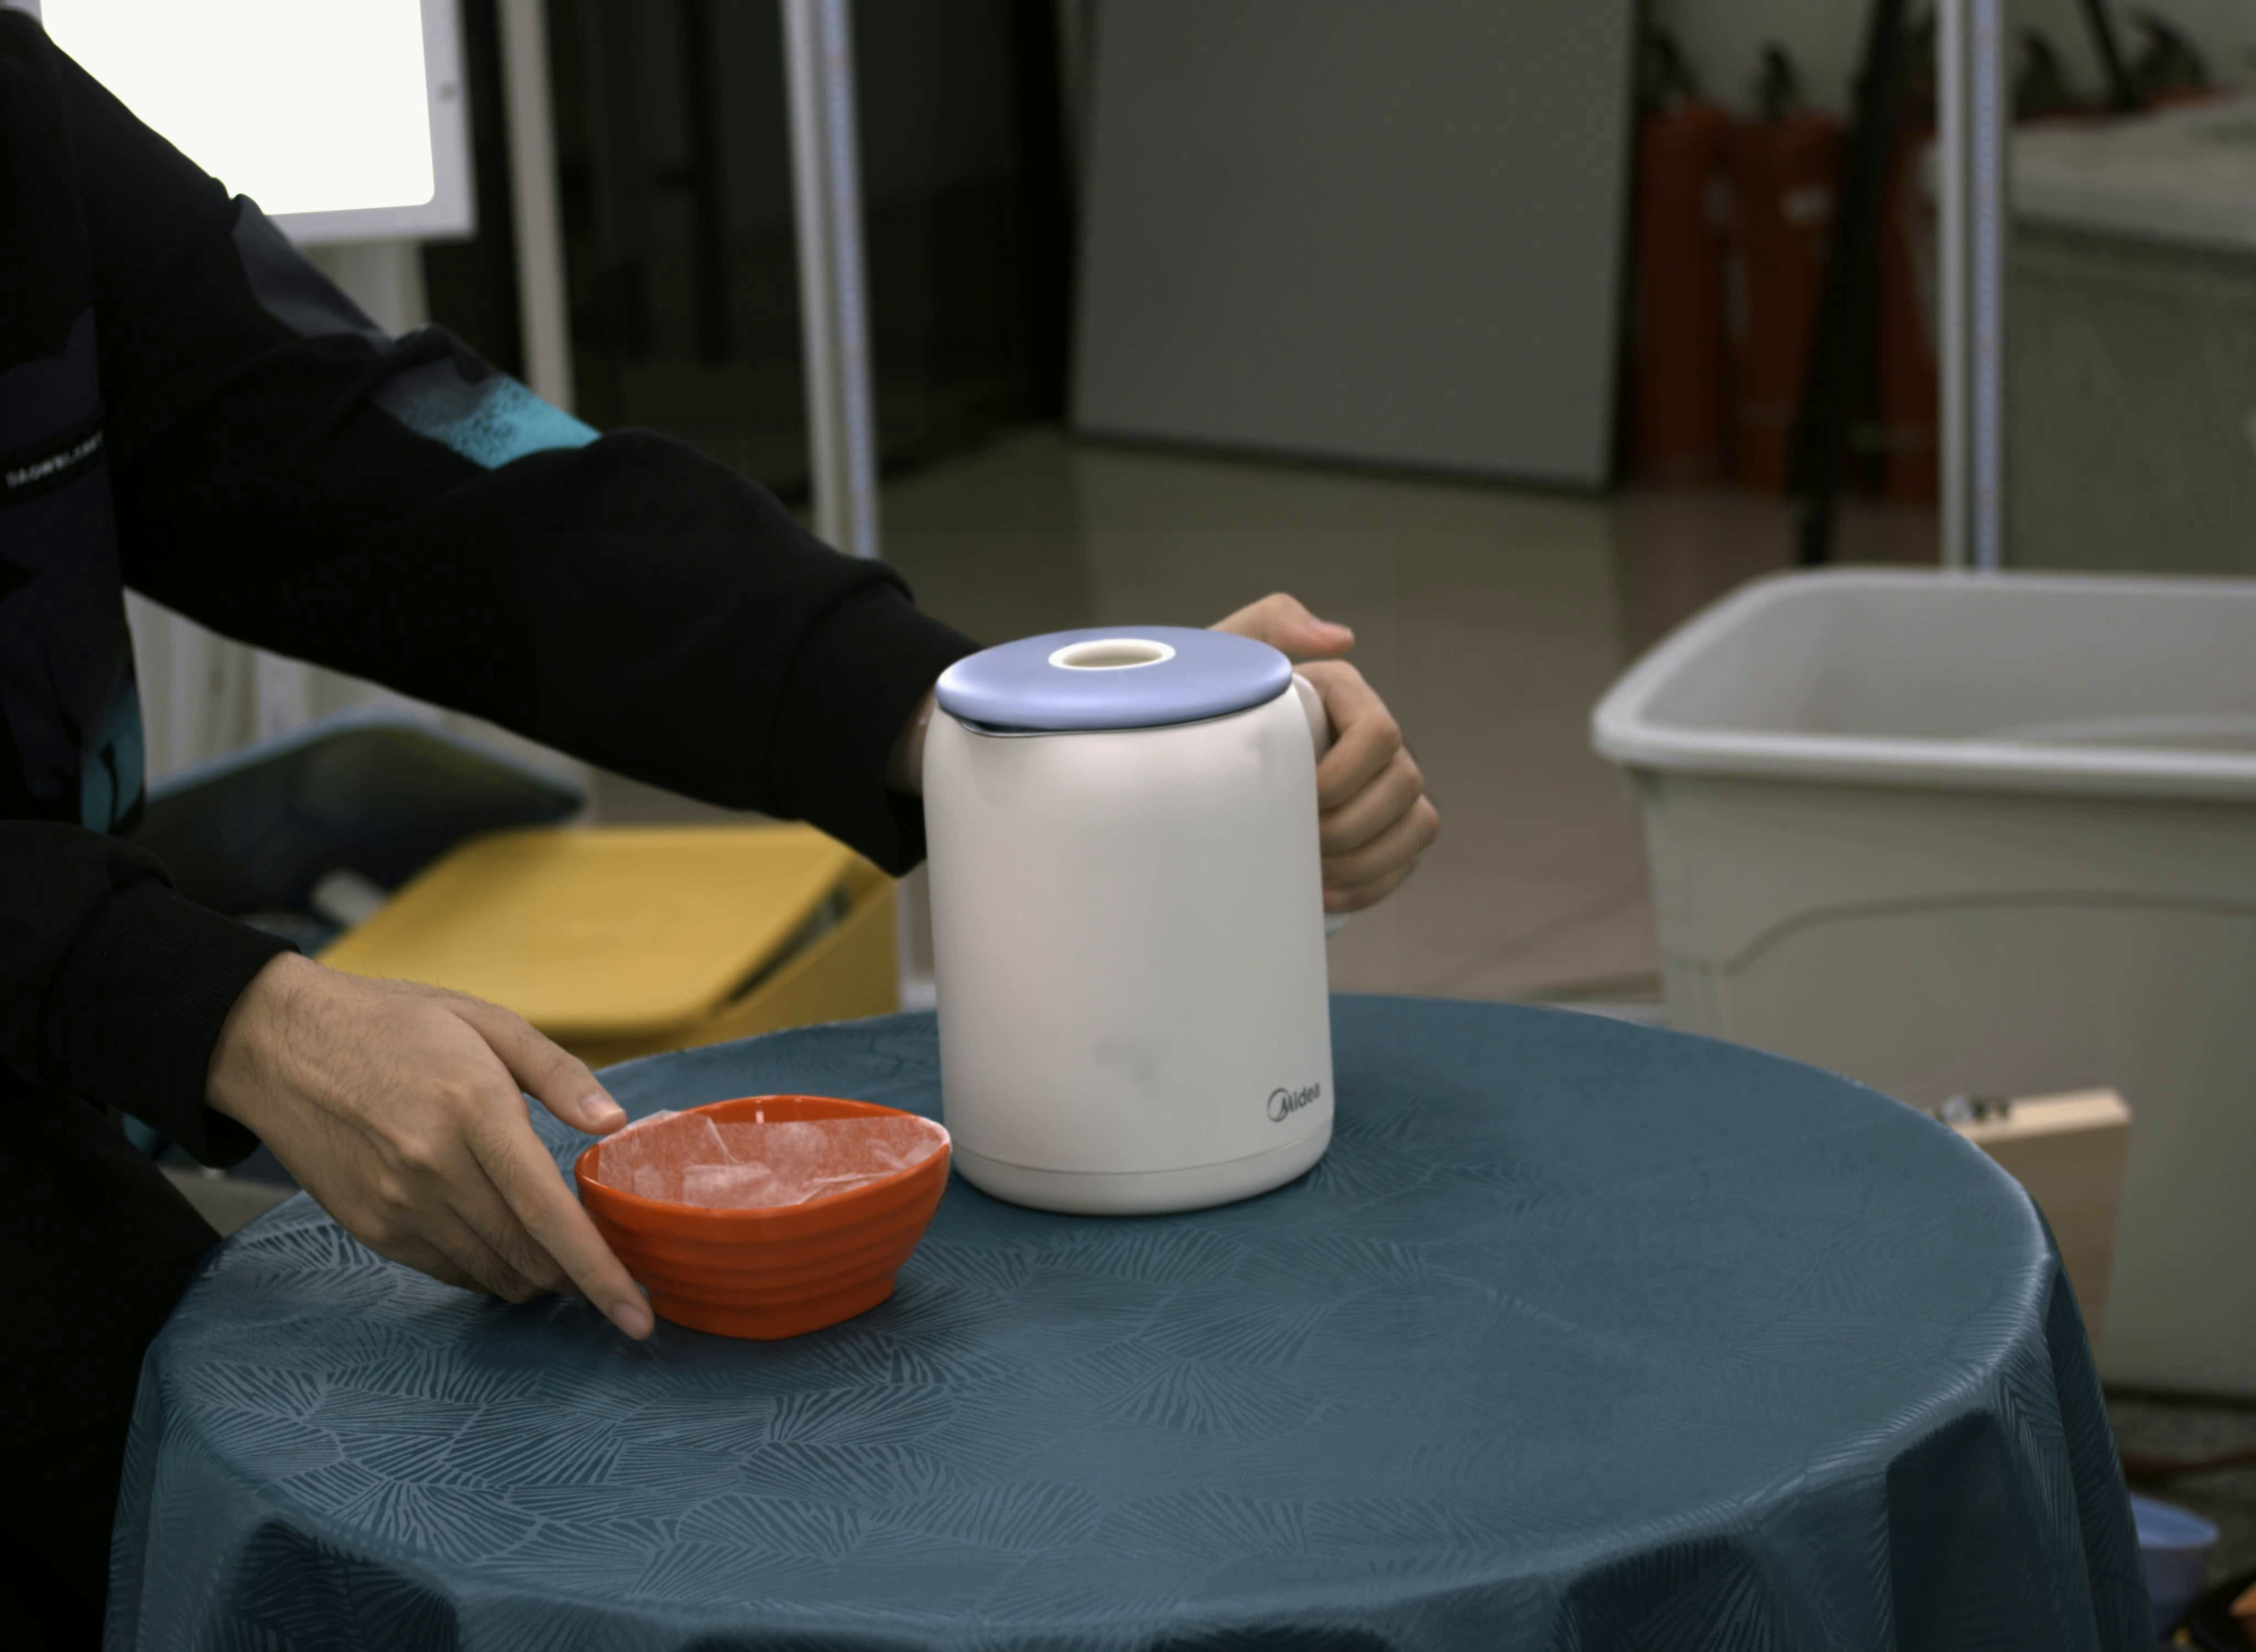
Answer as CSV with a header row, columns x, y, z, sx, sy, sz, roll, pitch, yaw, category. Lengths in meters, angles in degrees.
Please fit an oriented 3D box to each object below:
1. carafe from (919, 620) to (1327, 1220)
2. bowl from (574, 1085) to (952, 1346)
x,y,z,sx,sy,sz,roll,pitch,yaw,category
0.012,0.025,1.800,0.133,0.184,0.187,7,15,35,carafe
-0.112,0.123,1.682,0.117,0.052,0.119,-4,17,0,bowl
